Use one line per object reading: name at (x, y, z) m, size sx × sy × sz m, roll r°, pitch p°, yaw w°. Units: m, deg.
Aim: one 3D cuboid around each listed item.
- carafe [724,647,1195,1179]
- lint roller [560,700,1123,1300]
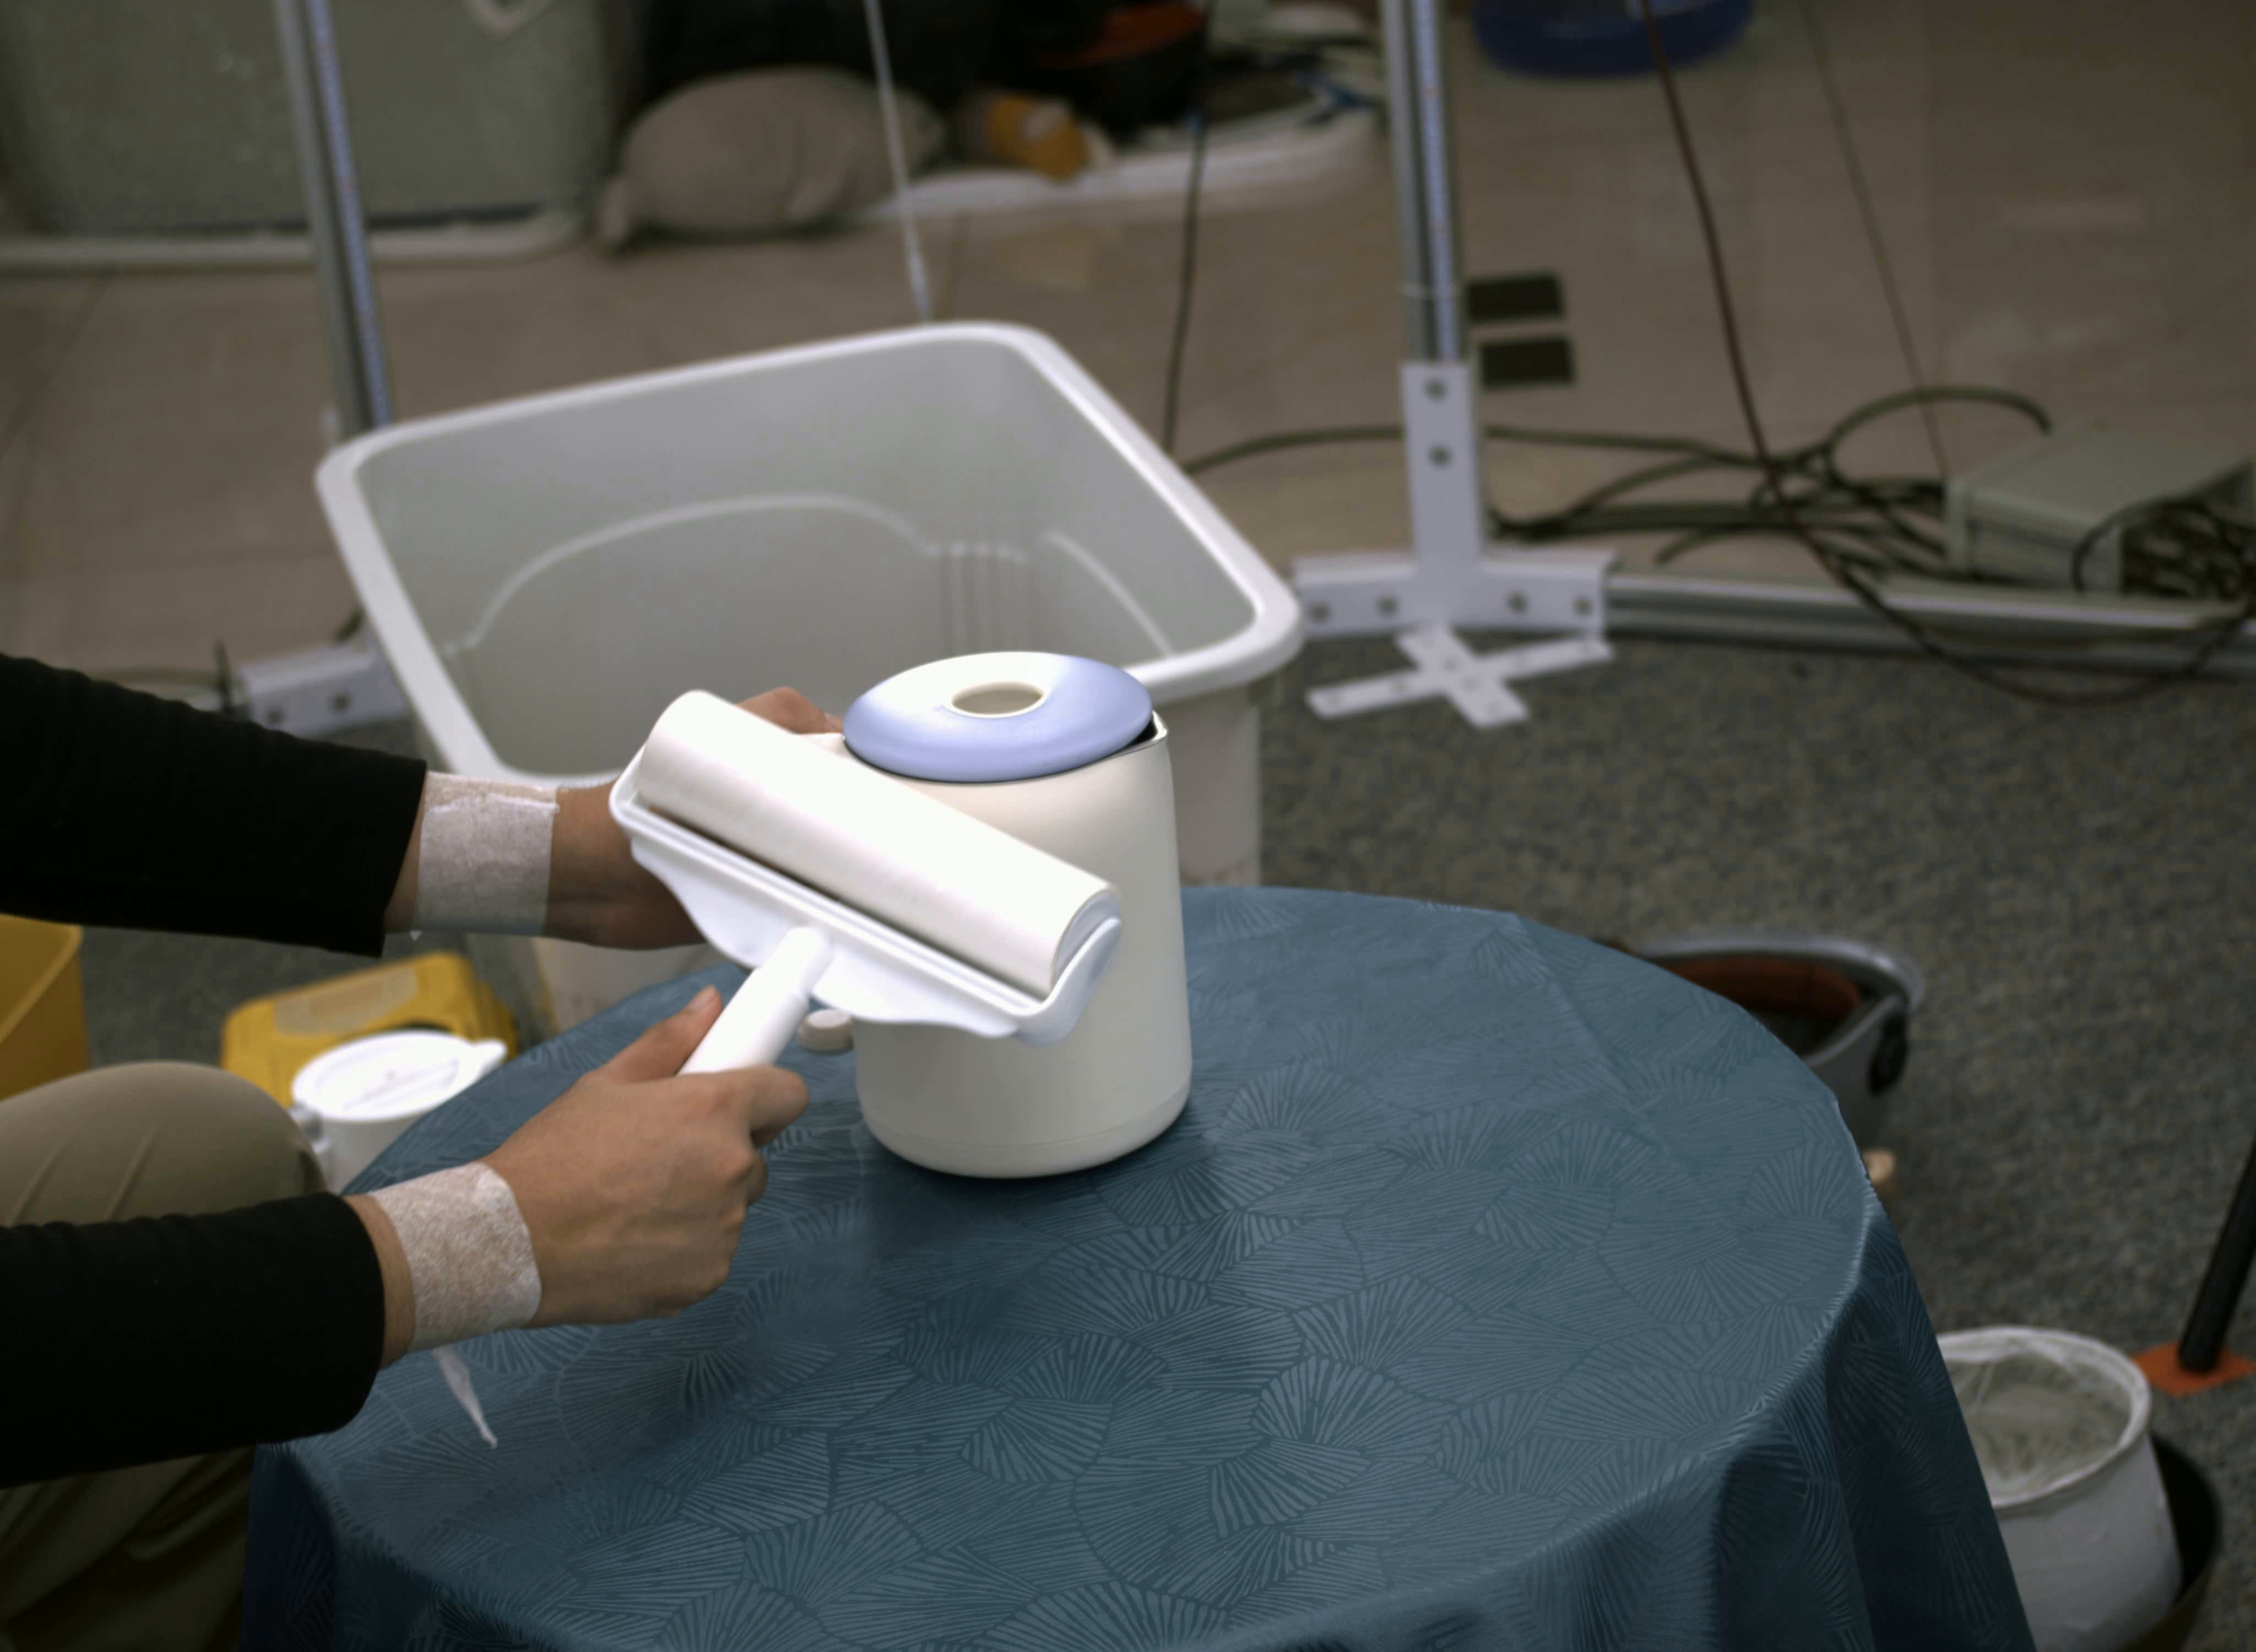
carafe at (-0.068, 0.032, 2.181) m, size 0.190 × 0.185 × 0.130 m, roll 2°, pitch 24°, yaw 18°
lint roller at (-0.138, 0.074, 2.047) m, size 0.201 × 0.049 × 0.223 m, roll 25°, pitch 67°, yaw 24°
